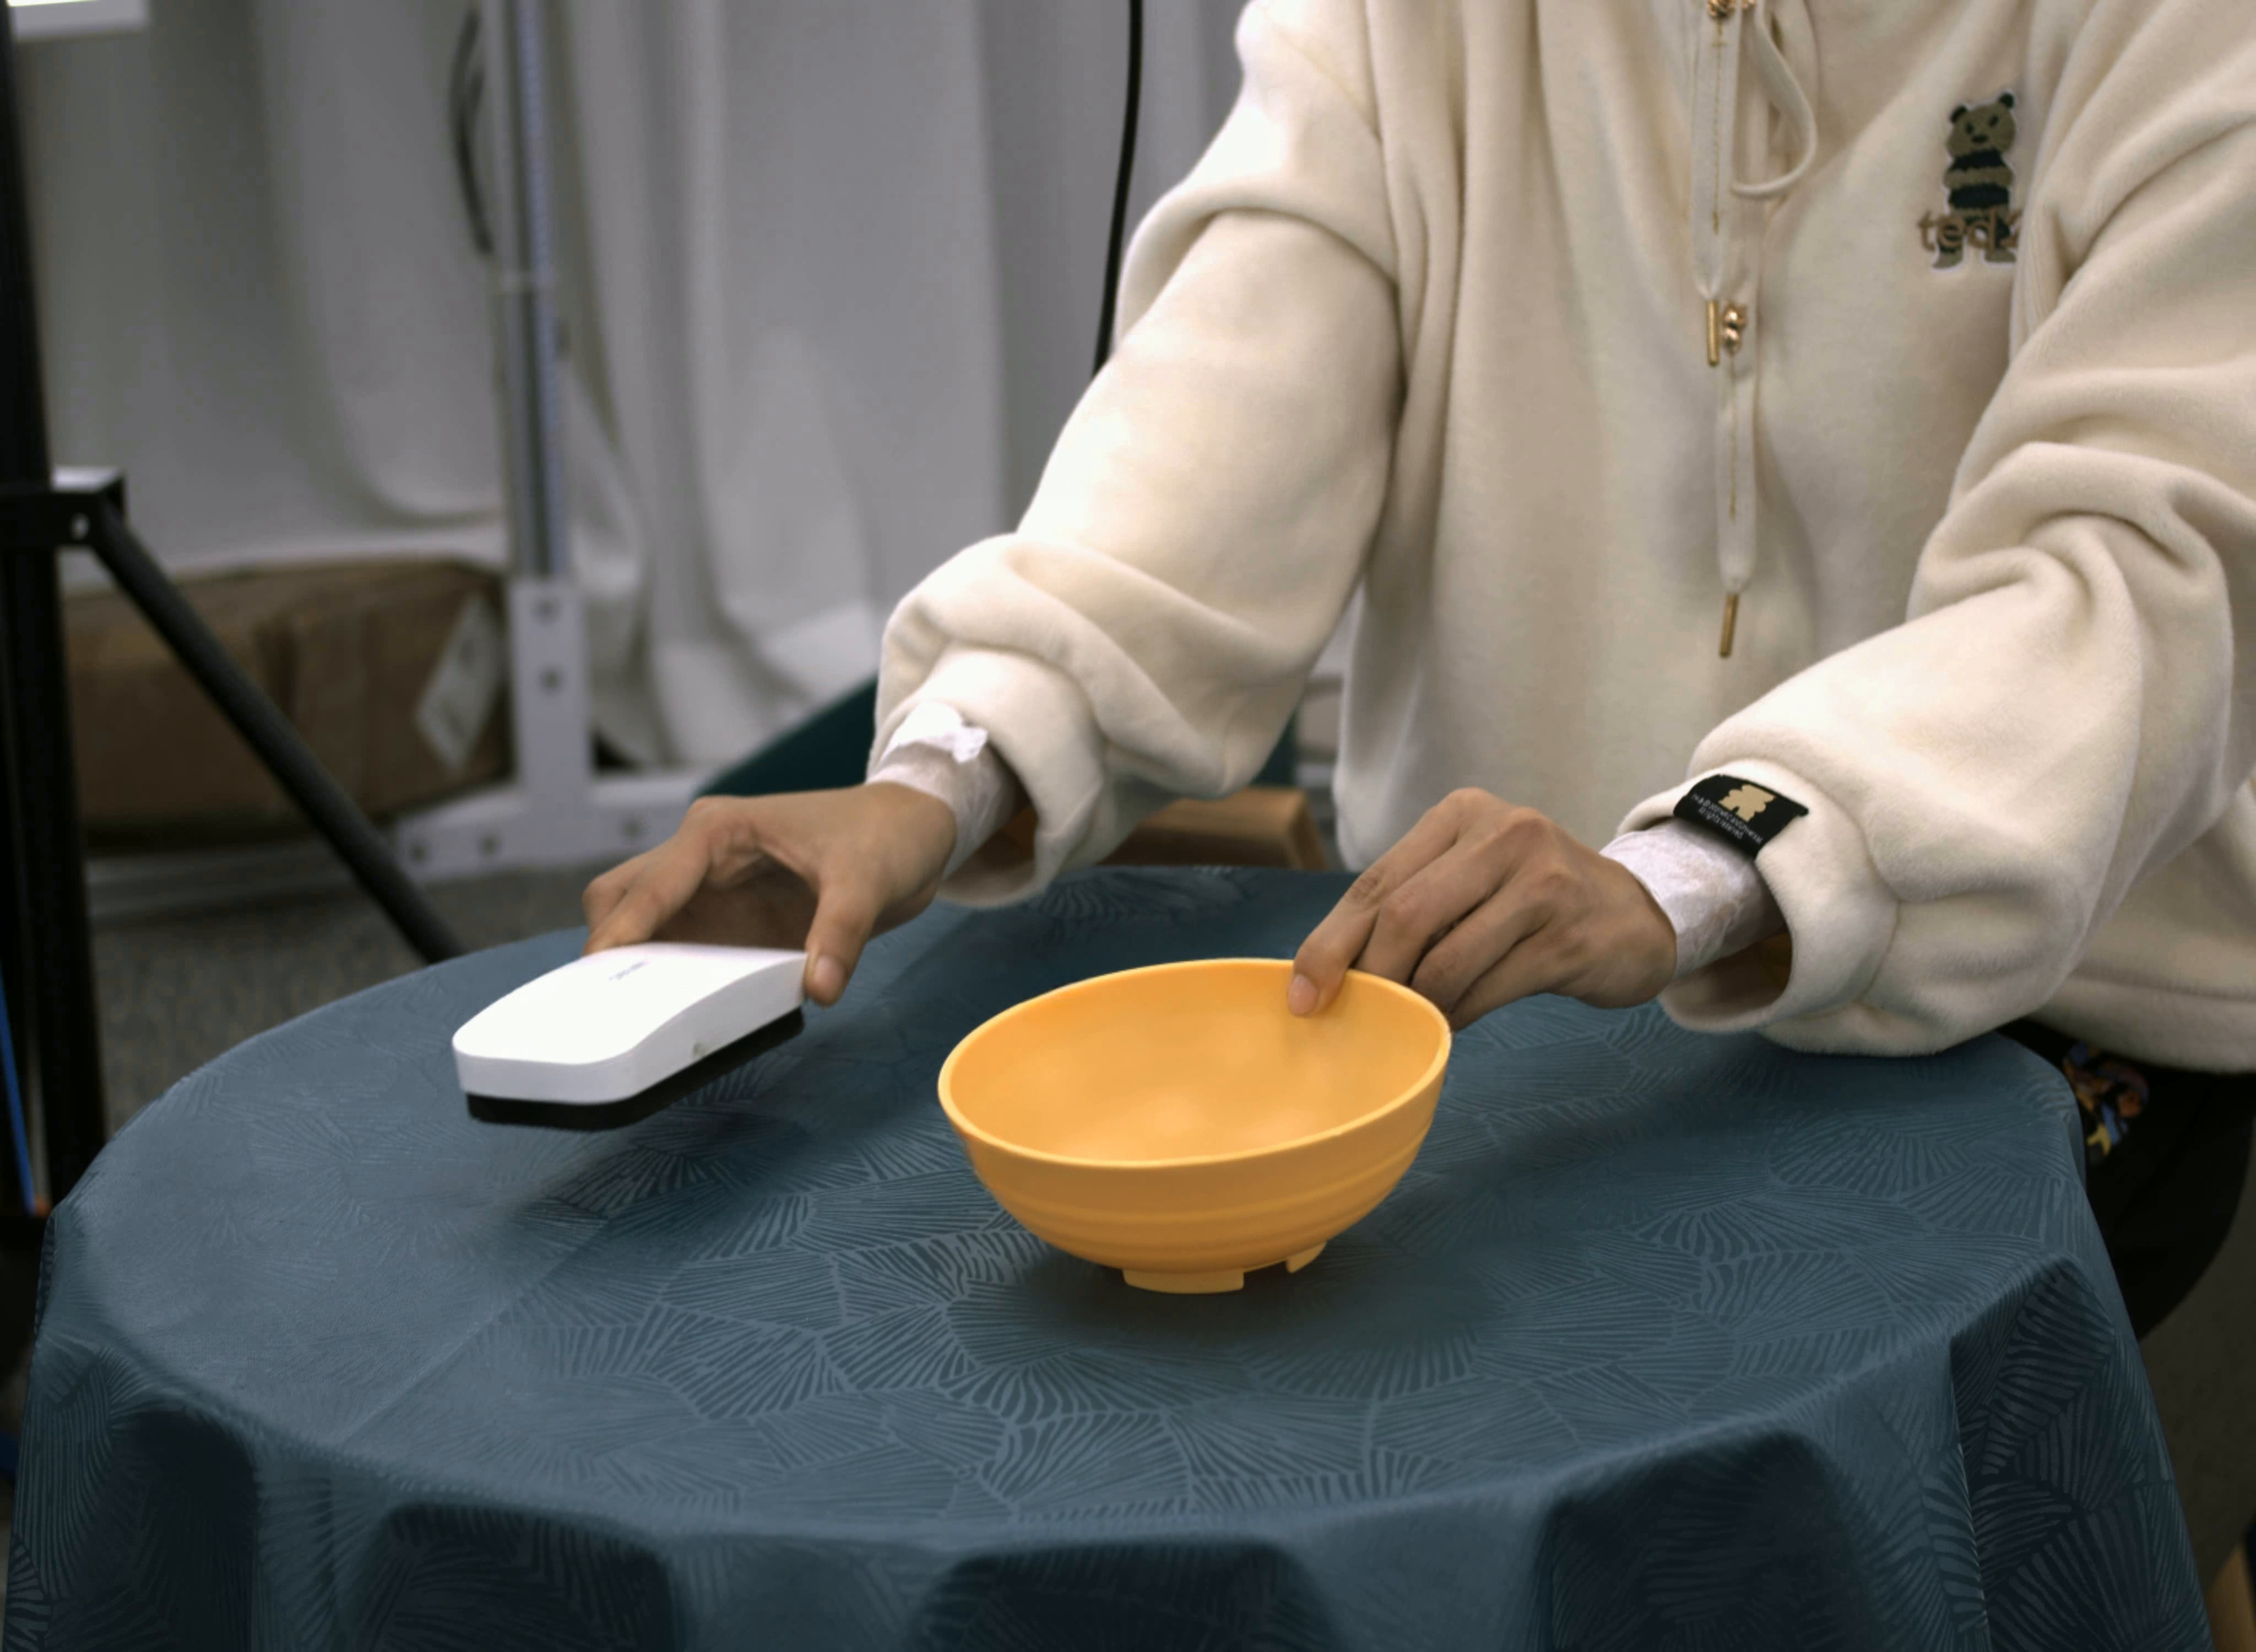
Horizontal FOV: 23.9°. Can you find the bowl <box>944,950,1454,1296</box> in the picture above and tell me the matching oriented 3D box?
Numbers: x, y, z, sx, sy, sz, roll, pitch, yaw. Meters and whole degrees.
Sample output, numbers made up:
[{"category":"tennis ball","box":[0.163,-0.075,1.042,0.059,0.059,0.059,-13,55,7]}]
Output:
[{"category":"bowl","box":[0.023,0.091,1.494,0.145,0.060,0.146,-8,22,2]}]

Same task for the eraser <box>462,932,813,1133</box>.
[{"category":"eraser","box":[-0.144,0.058,1.596,0.064,0.034,0.129,4,16,25]}]
